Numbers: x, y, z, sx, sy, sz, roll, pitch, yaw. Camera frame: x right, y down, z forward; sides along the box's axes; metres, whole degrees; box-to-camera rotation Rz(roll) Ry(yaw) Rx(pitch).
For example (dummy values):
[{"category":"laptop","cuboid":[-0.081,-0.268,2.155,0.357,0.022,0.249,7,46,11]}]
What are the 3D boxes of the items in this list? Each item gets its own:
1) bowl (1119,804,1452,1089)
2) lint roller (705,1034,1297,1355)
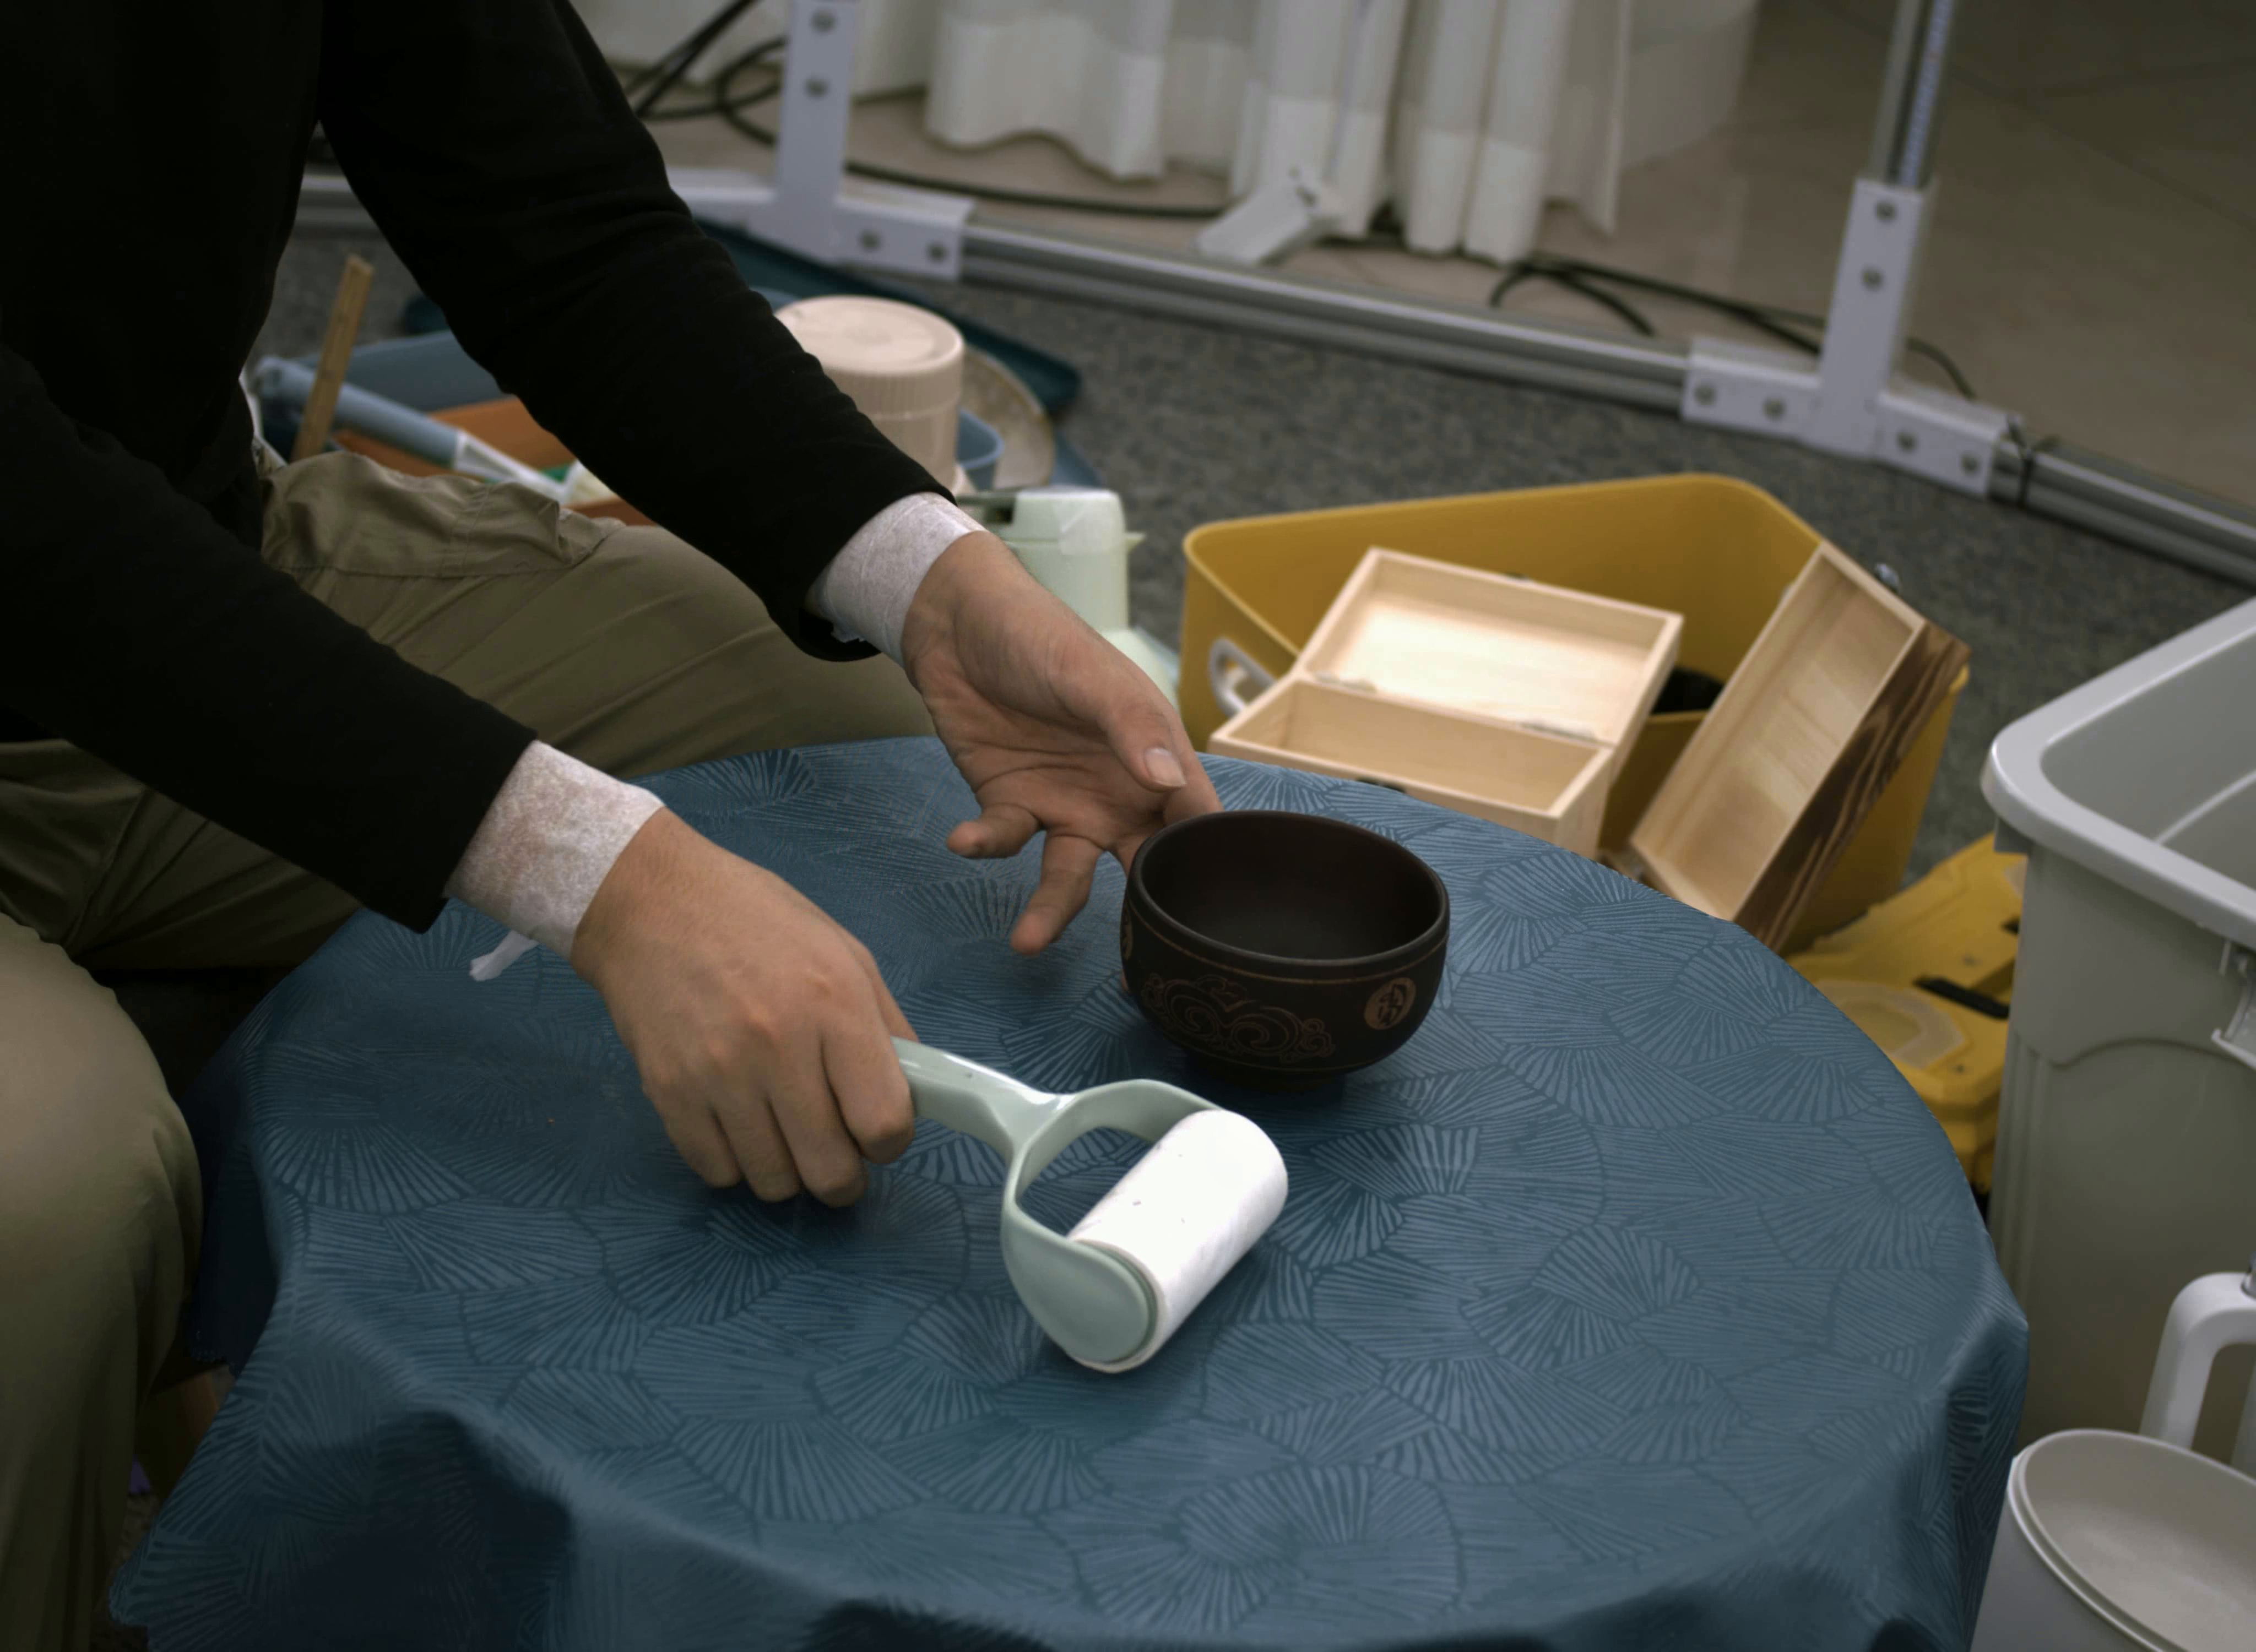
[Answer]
[{"category":"bowl","cuboid":[0.054,0.049,1.881,0.117,0.069,0.119,4,27,-2]},{"category":"lint roller","cuboid":[-0.049,0.101,1.758,0.198,0.048,0.116,24,31,17]}]
